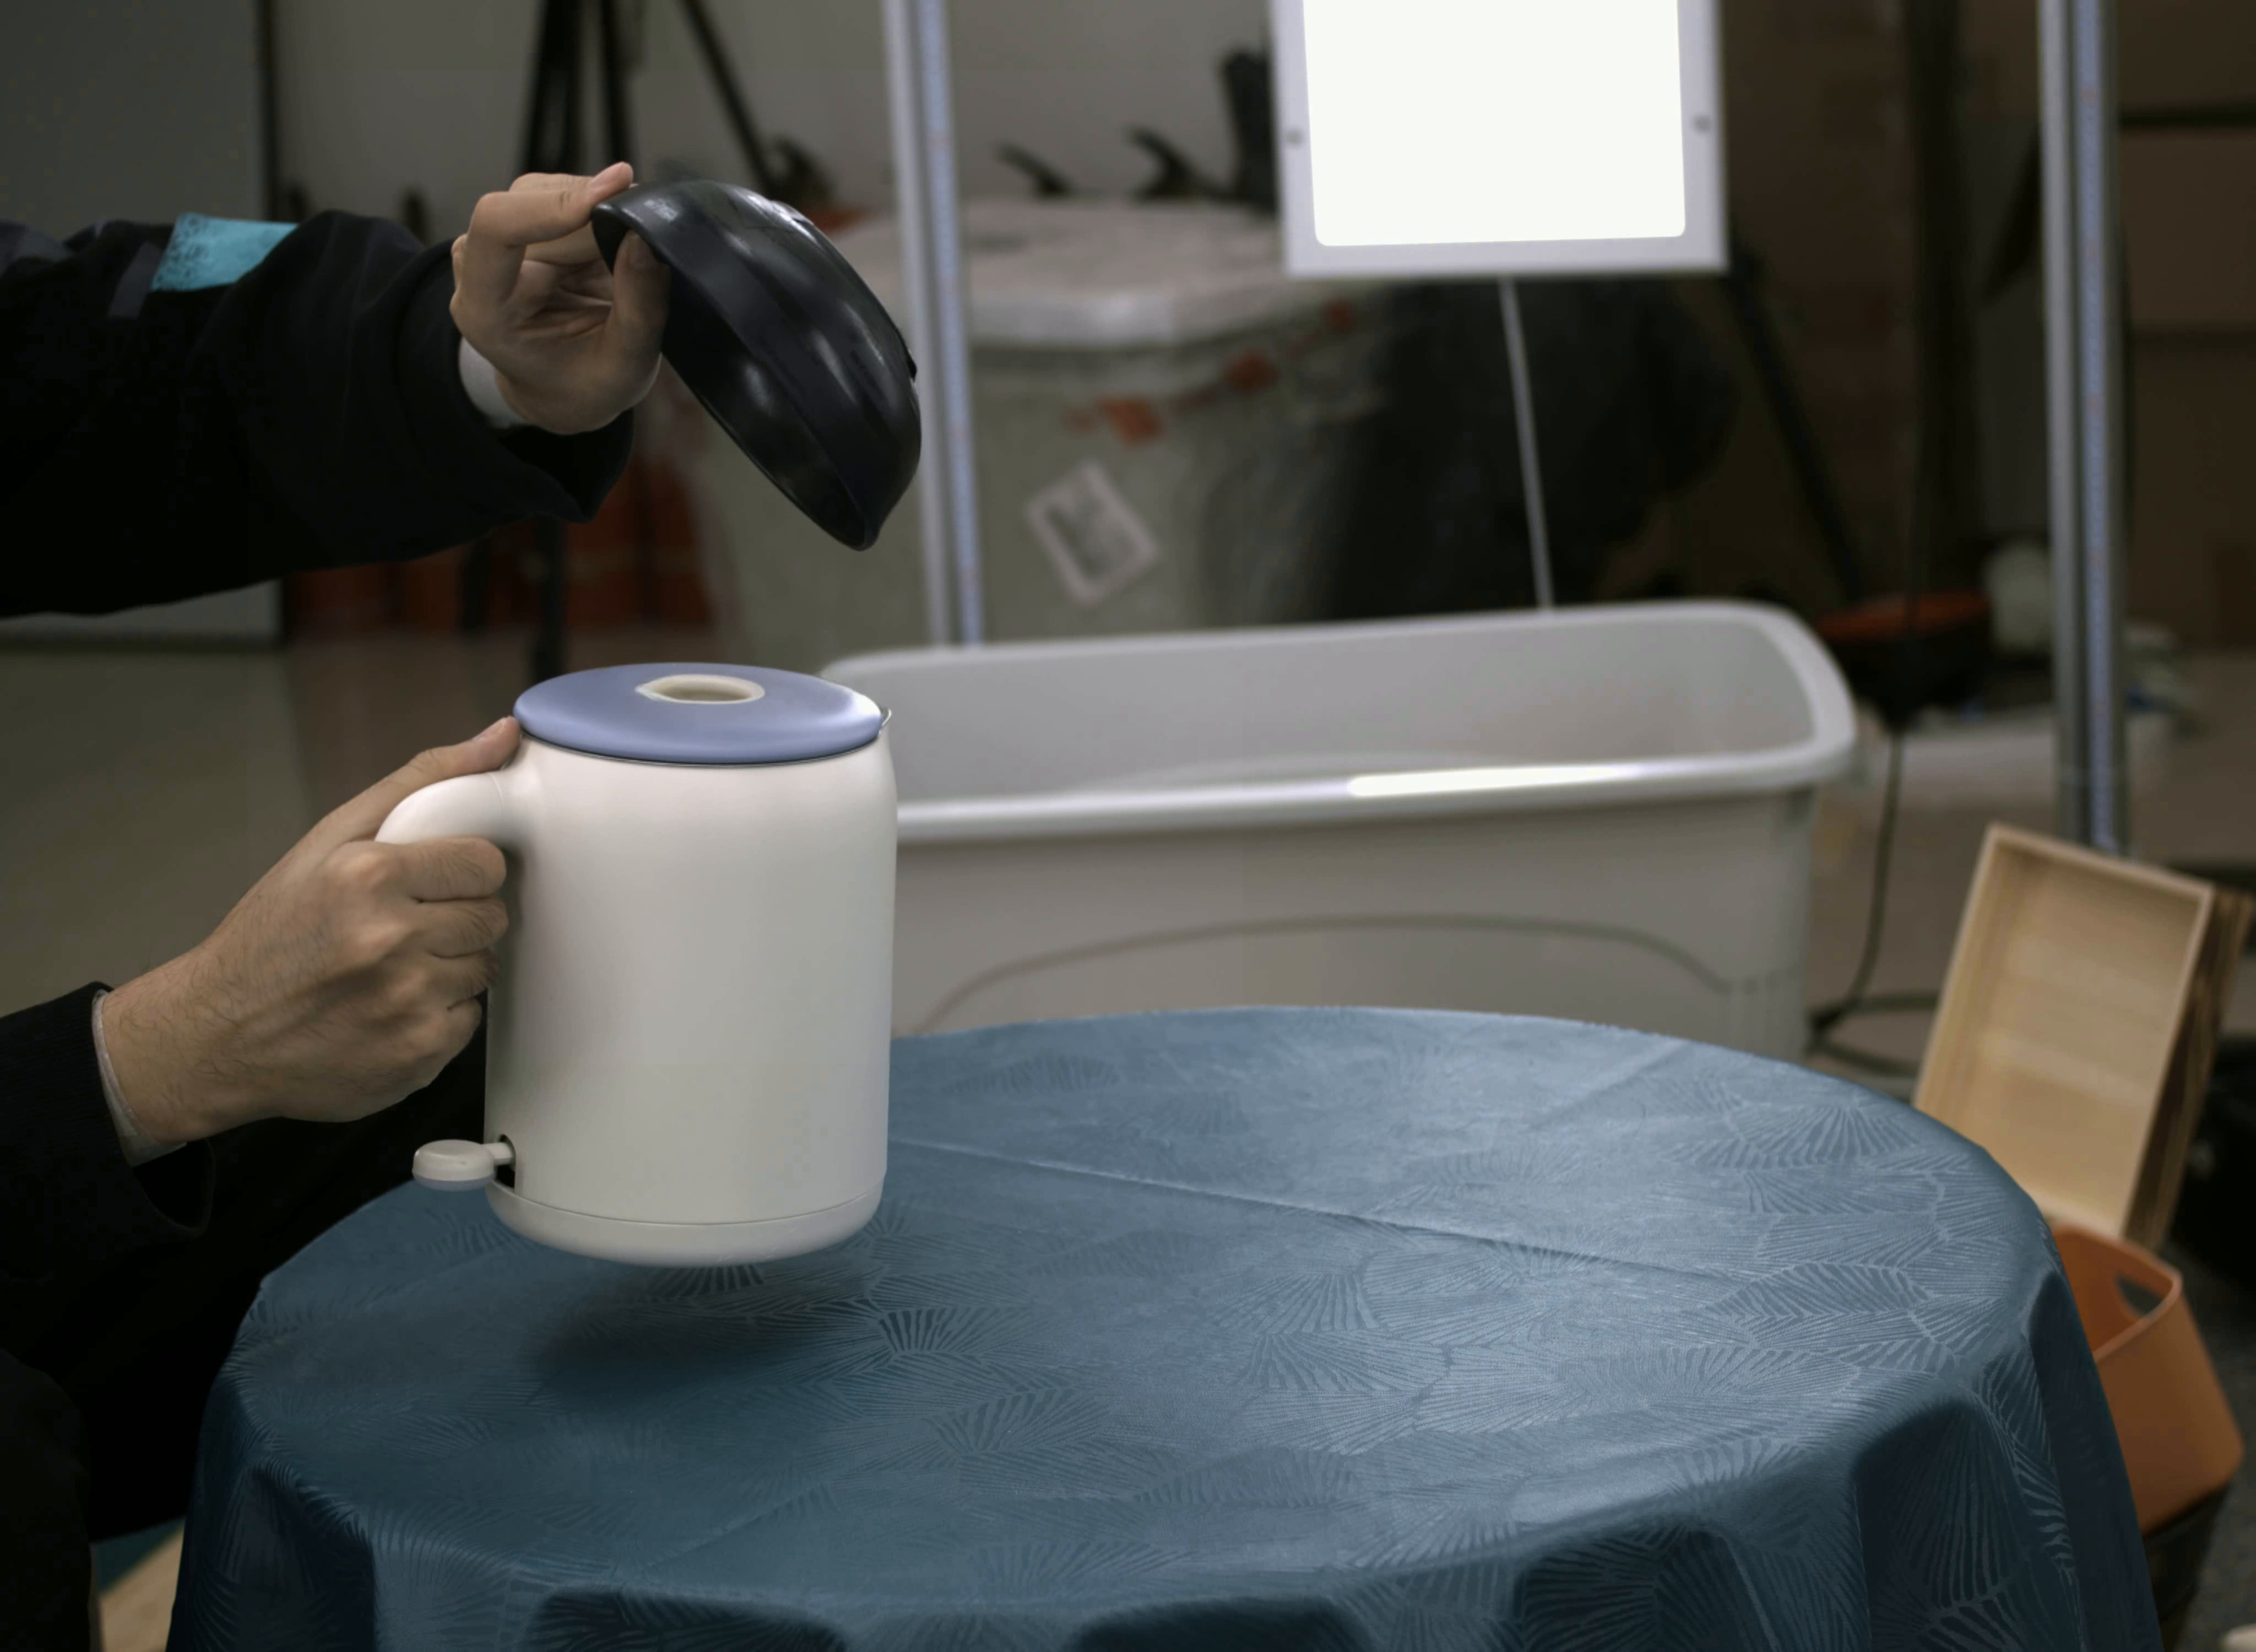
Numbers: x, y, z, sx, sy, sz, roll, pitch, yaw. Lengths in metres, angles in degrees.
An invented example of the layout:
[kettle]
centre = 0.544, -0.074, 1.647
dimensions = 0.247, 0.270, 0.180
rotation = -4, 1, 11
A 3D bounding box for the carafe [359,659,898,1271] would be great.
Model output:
[carafe]
centre = -0.160, 0.047, 1.766
dimensions = 0.186, 0.183, 0.134
rotation = -9, 16, -30

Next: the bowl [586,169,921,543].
[bowl]
centre = -0.109, -0.158, 1.745
dimensions = 0.049, 0.139, 0.142
rotation = -40, 21, -8
